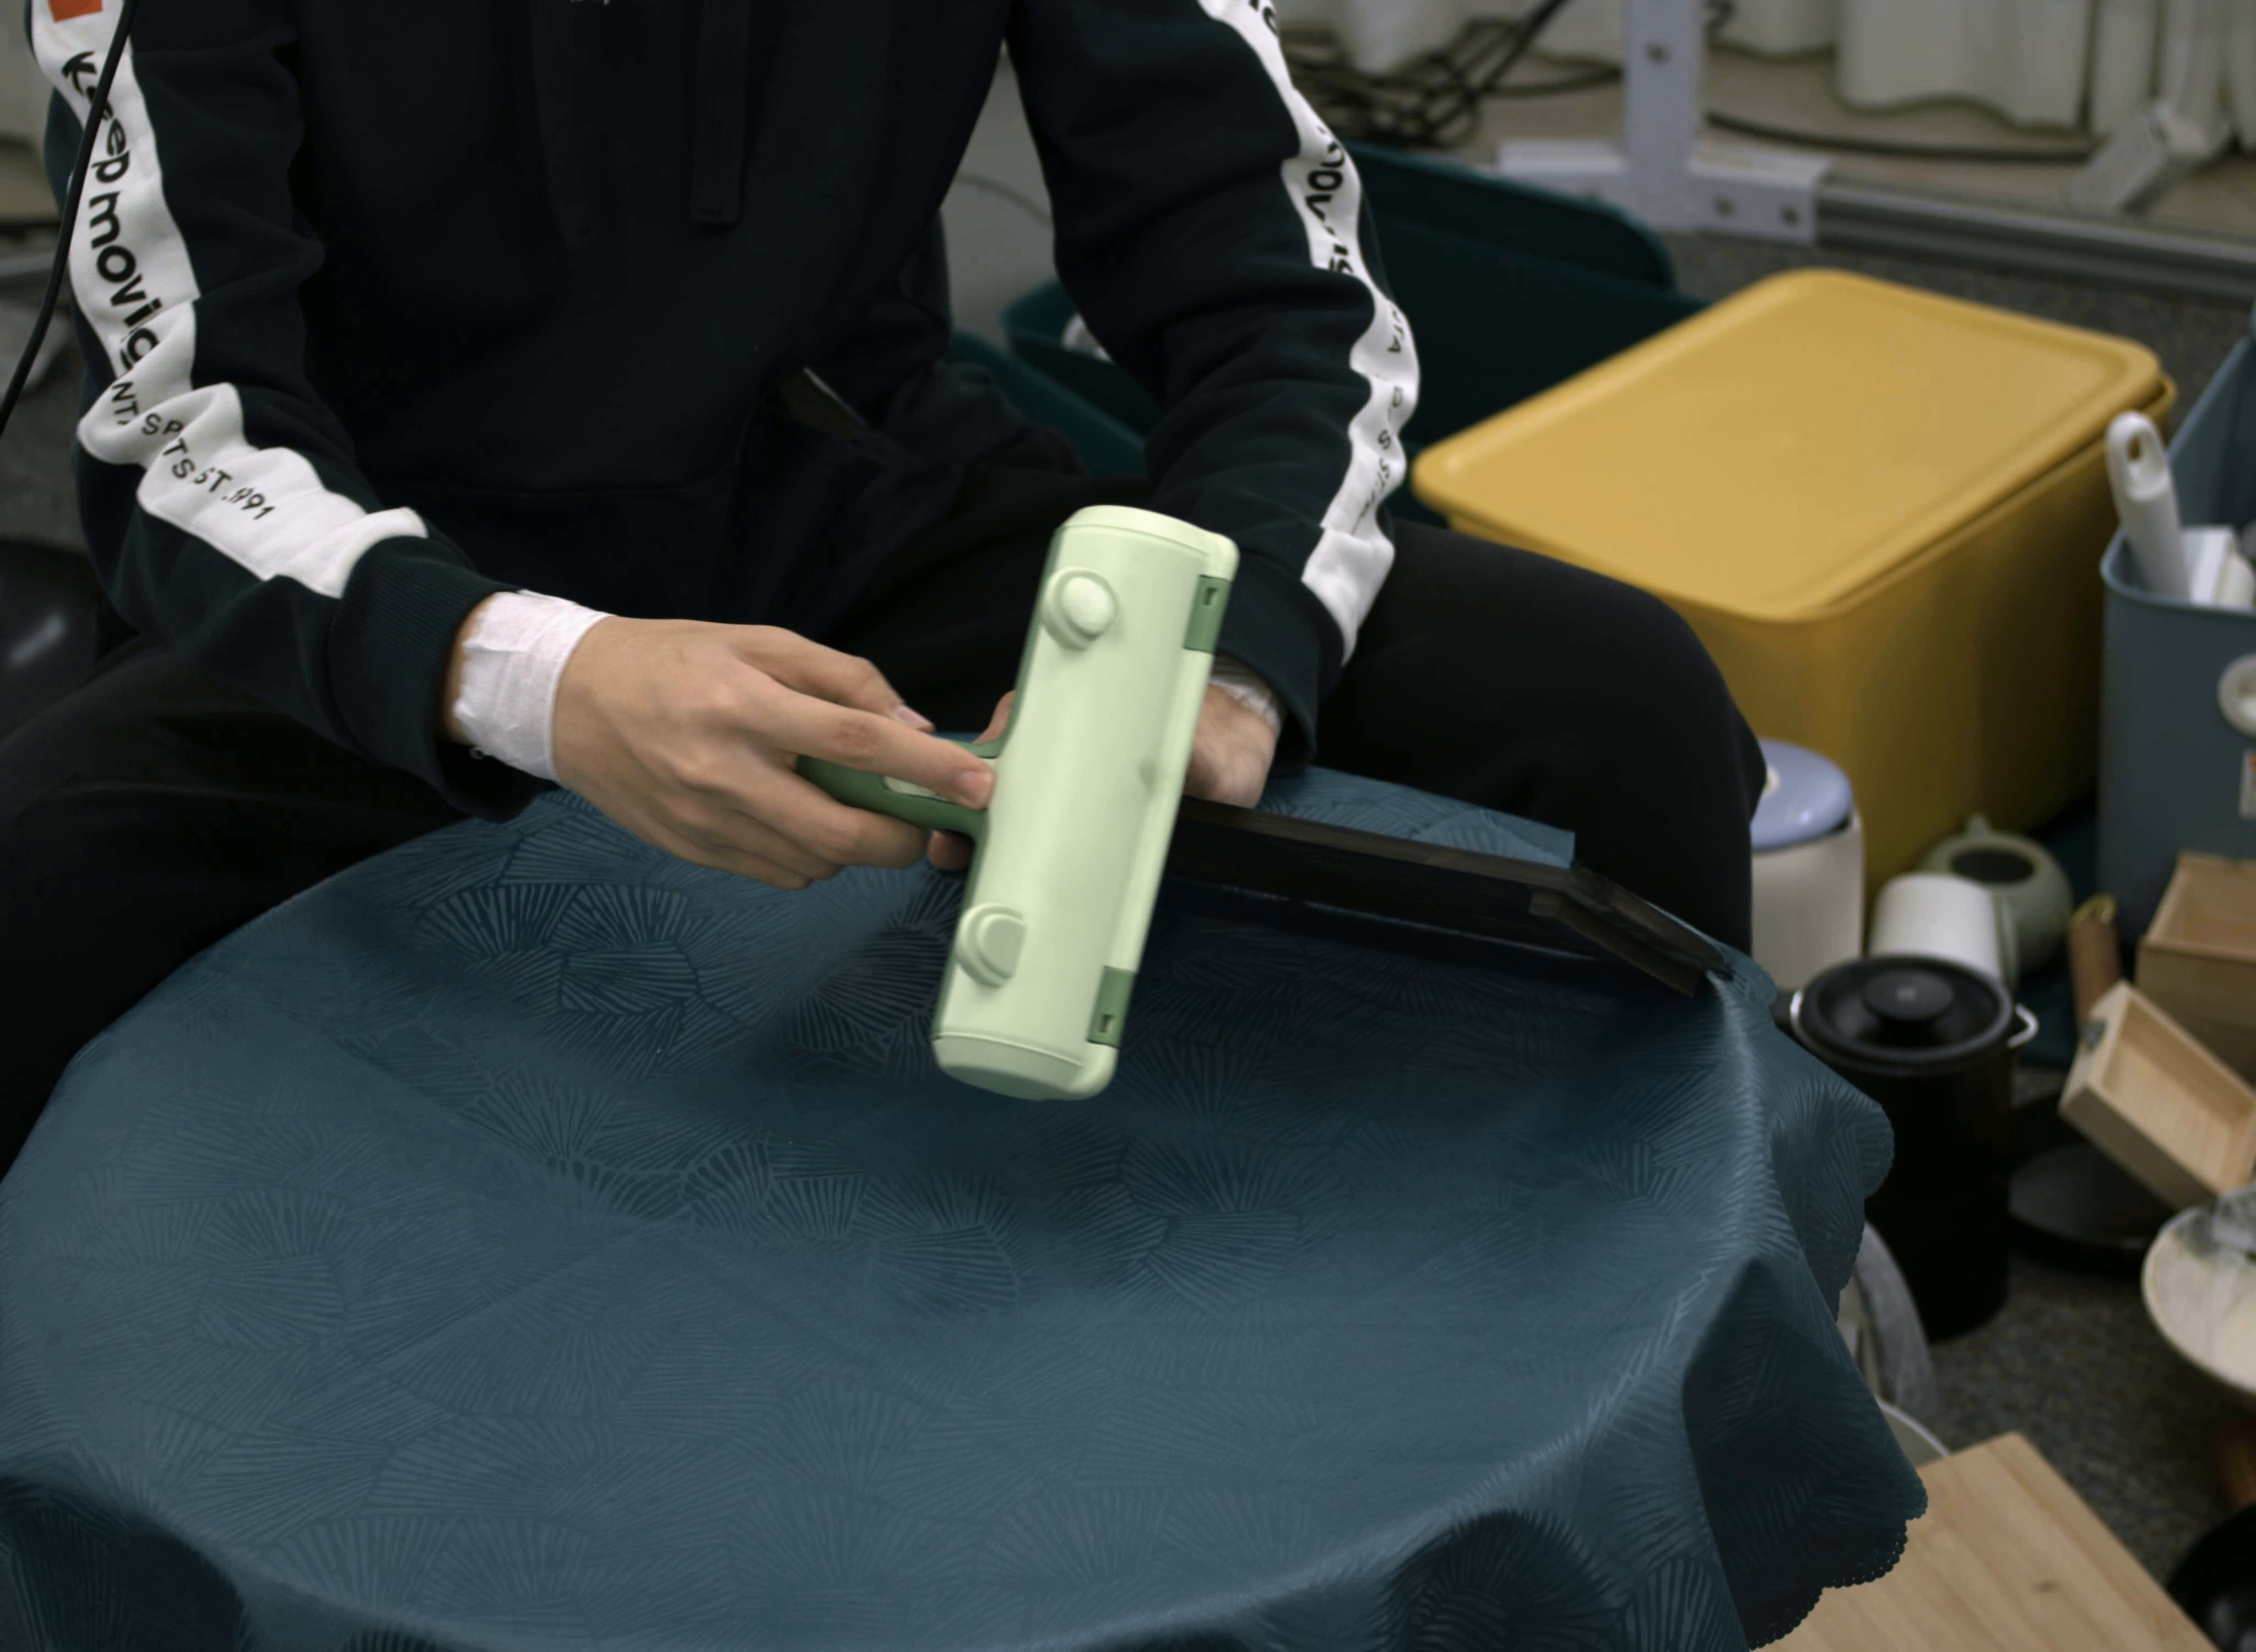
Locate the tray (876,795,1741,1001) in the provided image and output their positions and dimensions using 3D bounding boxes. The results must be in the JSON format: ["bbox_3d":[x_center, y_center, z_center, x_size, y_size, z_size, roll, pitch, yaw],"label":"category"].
[{"bbox_3d":[0.048,0.015,1.949,0.304,0.019,0.169,11,-7,24],"label":"tray"}]

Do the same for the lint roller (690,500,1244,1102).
[{"bbox_3d":[-0.068,-0.020,1.857,0.182,0.201,0.081,10,-14,15],"label":"lint roller"}]
